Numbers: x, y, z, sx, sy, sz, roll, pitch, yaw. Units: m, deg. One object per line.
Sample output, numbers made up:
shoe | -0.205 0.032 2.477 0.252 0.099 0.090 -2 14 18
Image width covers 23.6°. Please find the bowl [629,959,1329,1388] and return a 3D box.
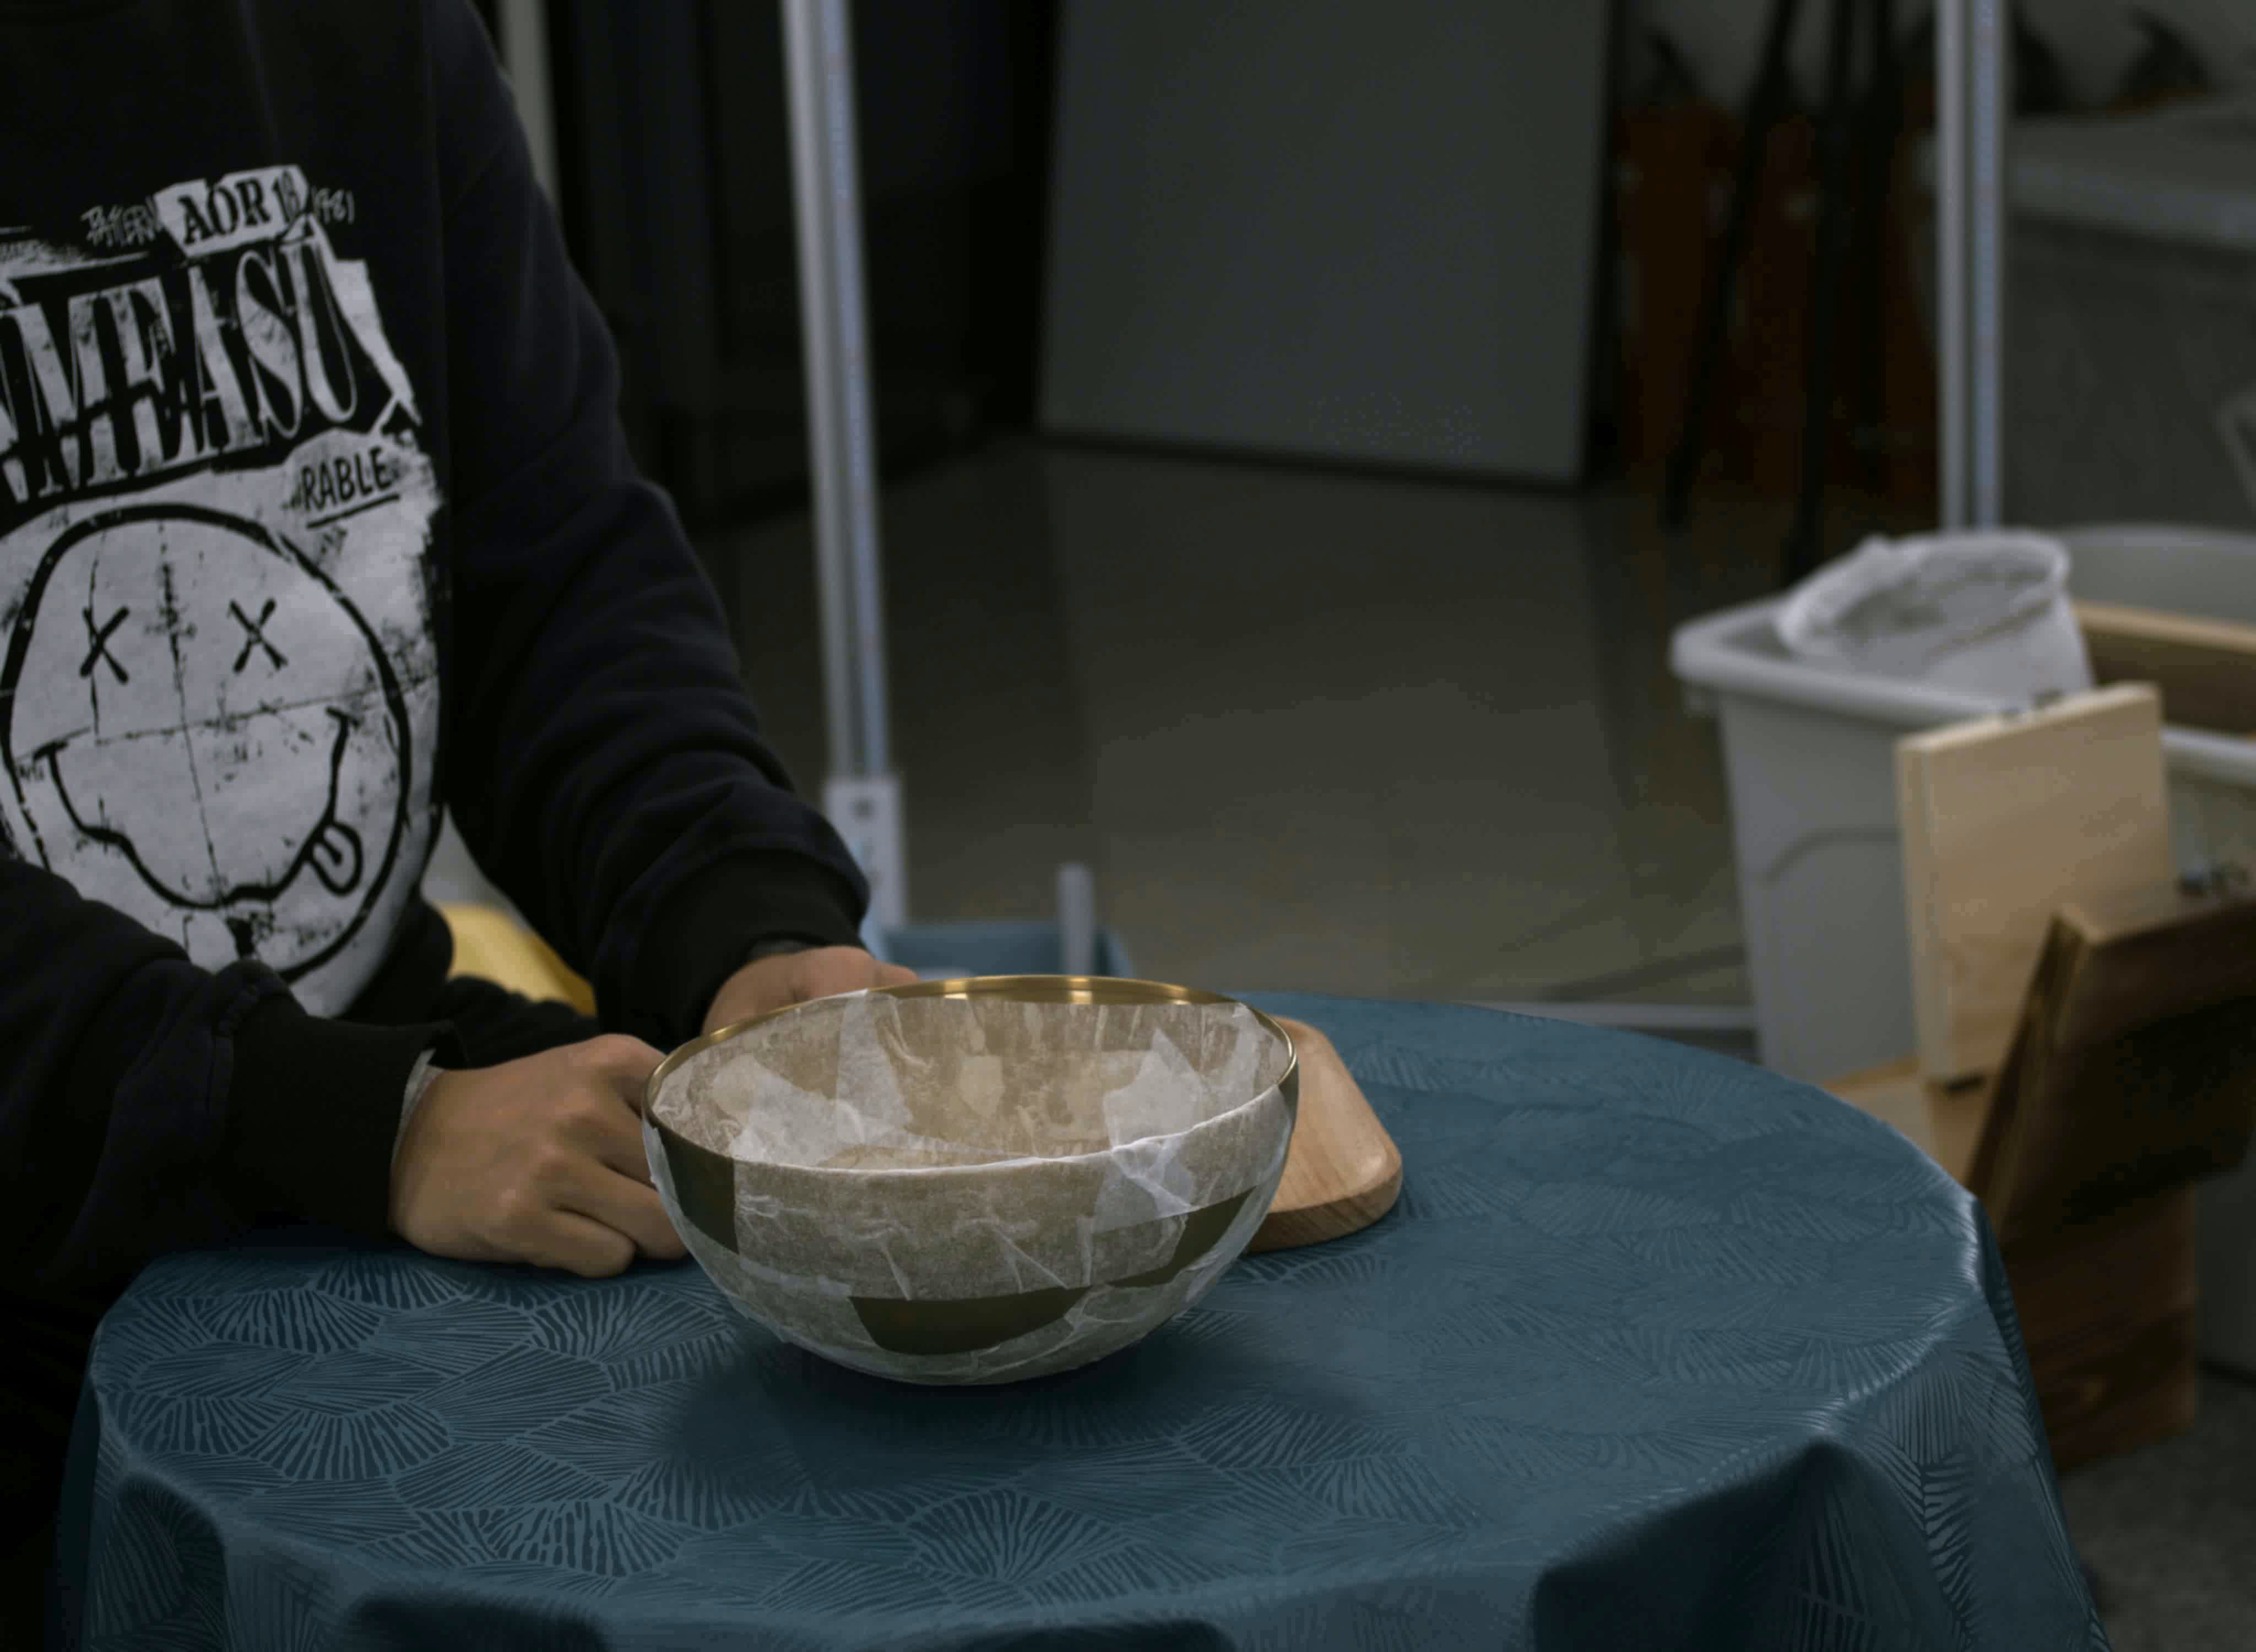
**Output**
bowl | -0.043 0.112 1.624 0.212 0.095 0.215 -5 14 0

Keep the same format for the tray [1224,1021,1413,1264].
tray | 0.032 0.103 1.804 0.100 0.020 0.232 -8 16 -7
